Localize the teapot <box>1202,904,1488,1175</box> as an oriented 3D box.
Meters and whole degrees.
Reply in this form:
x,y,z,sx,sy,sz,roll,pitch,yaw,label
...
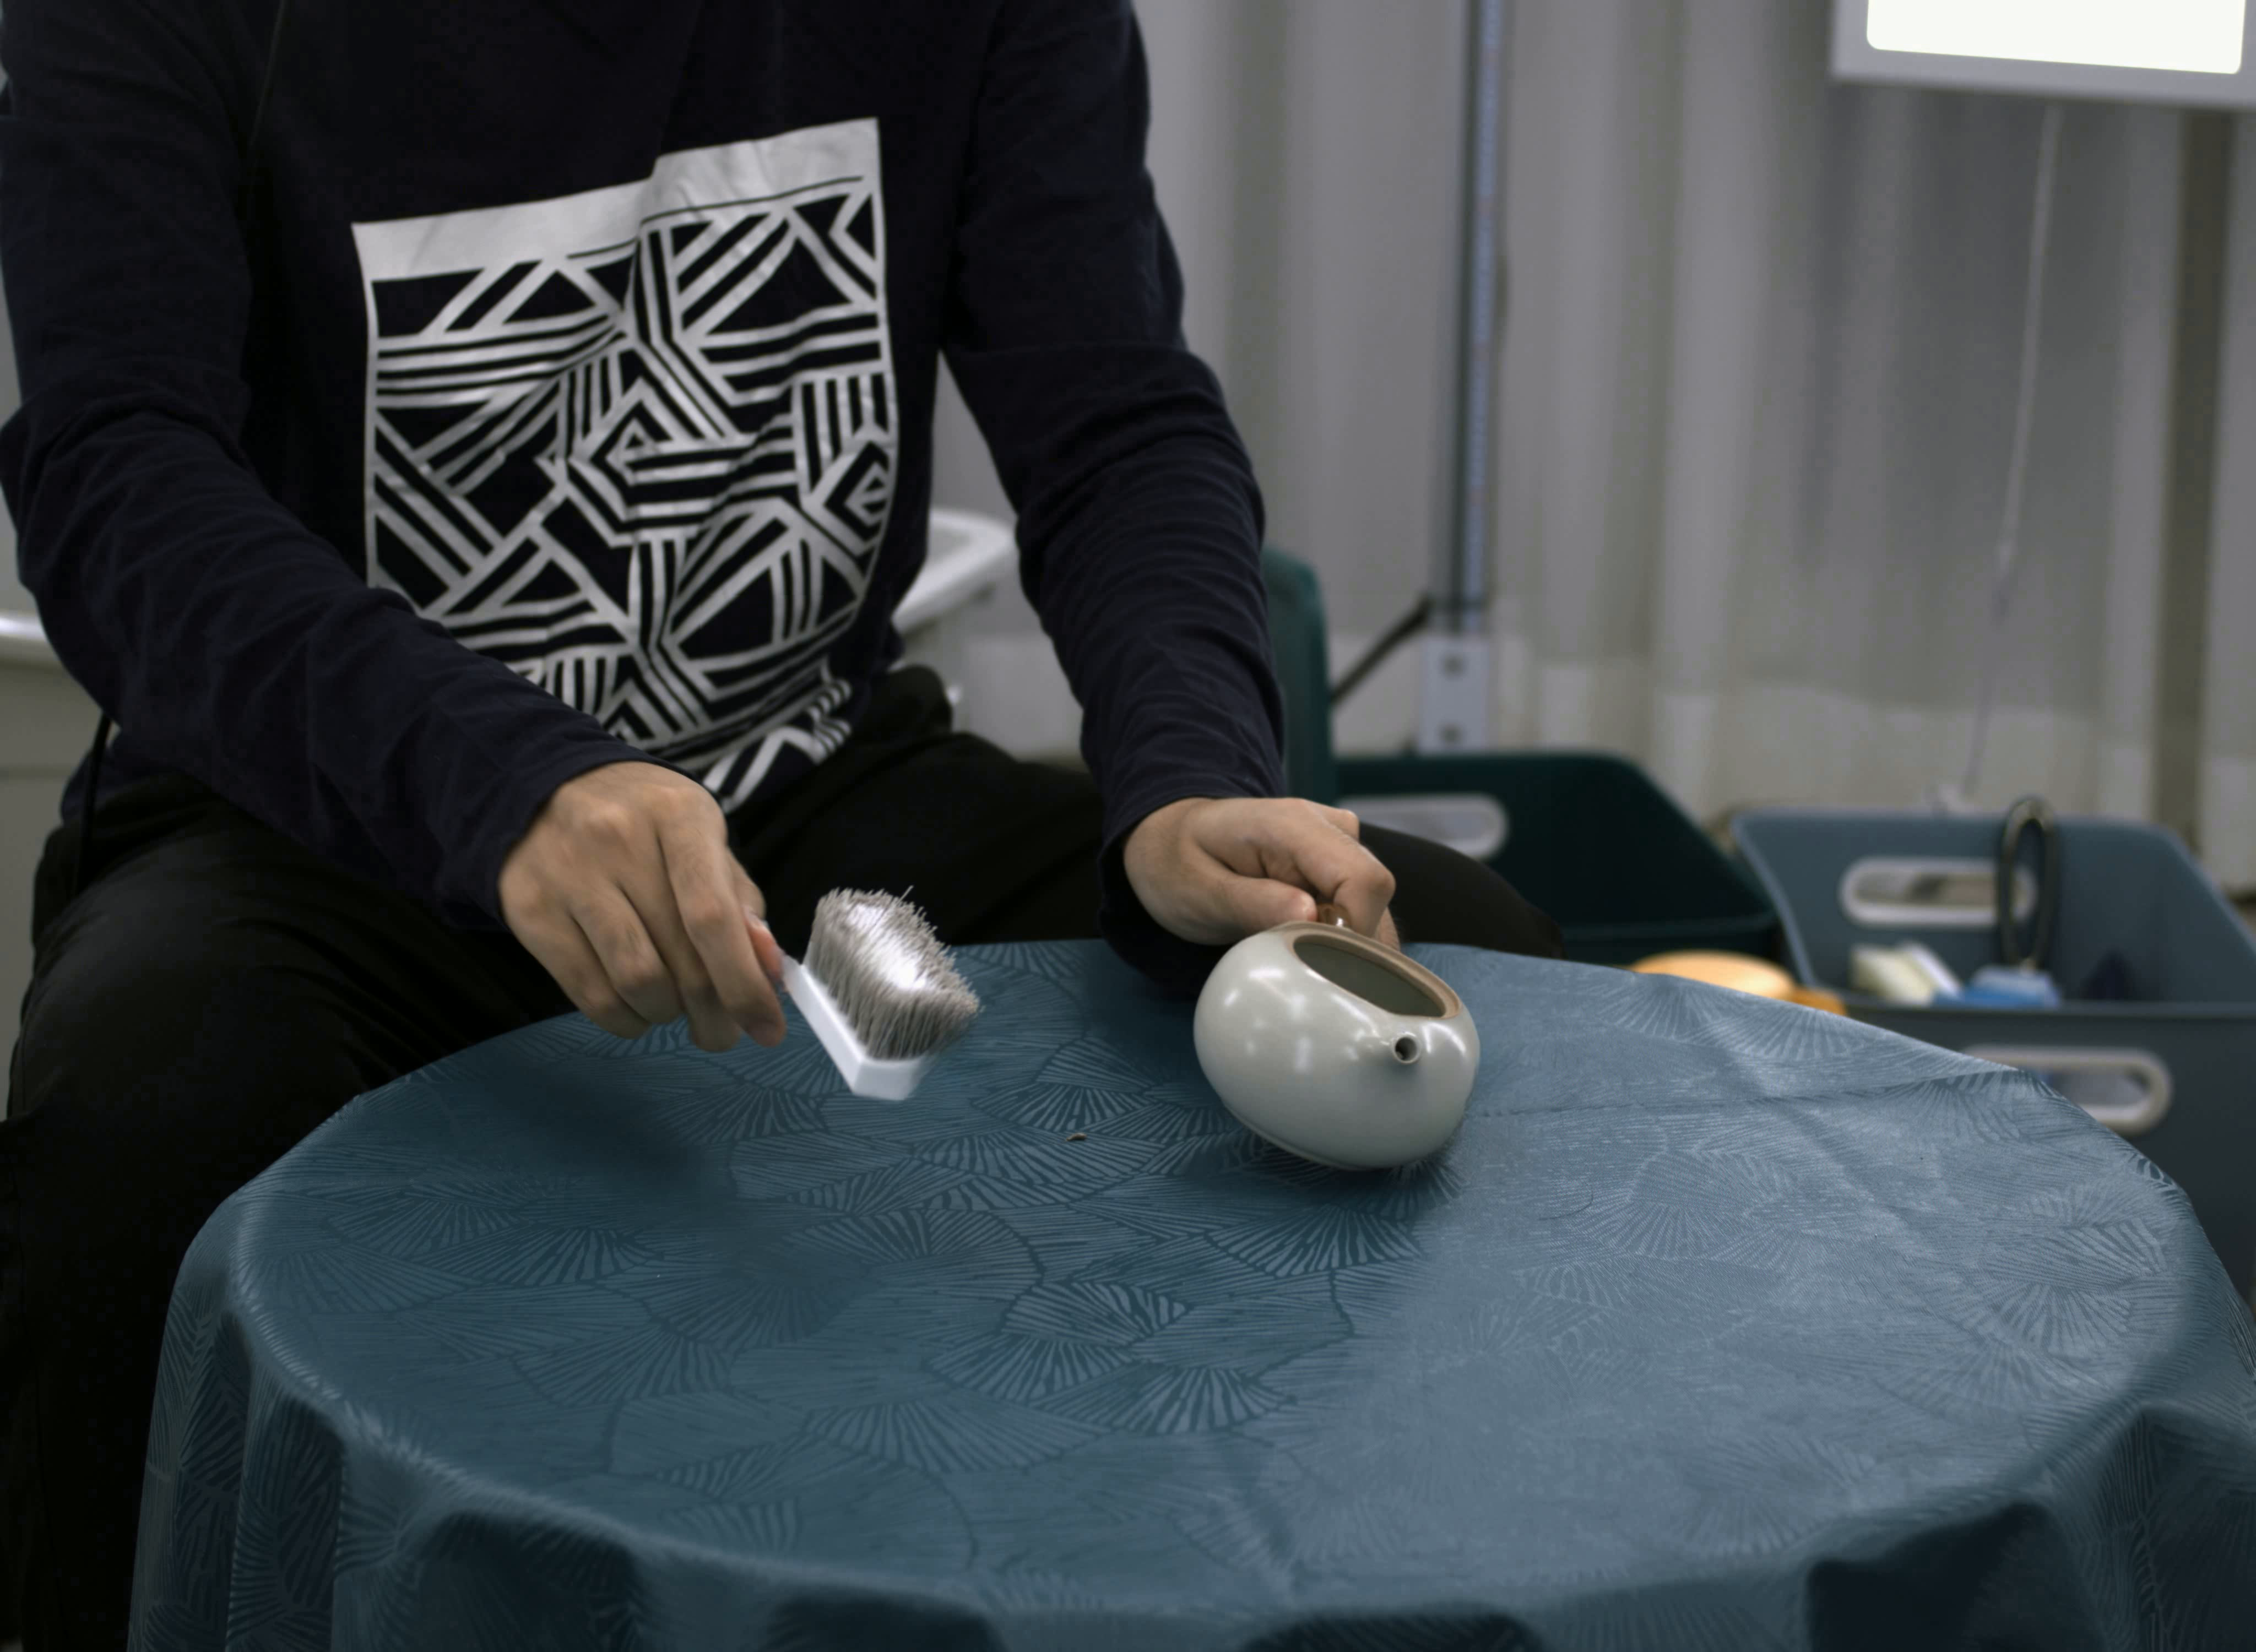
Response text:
x,y,z,sx,sy,sz,roll,pitch,yaw,label
0.066,0.066,1.654,0.092,0.060,0.126,16,19,-20,teapot

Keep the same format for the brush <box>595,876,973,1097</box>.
x,y,z,sx,sy,sz,roll,pitch,yaw,label
-0.111,0.029,1.615,0.034,0.050,0.240,2,13,-28,brush
